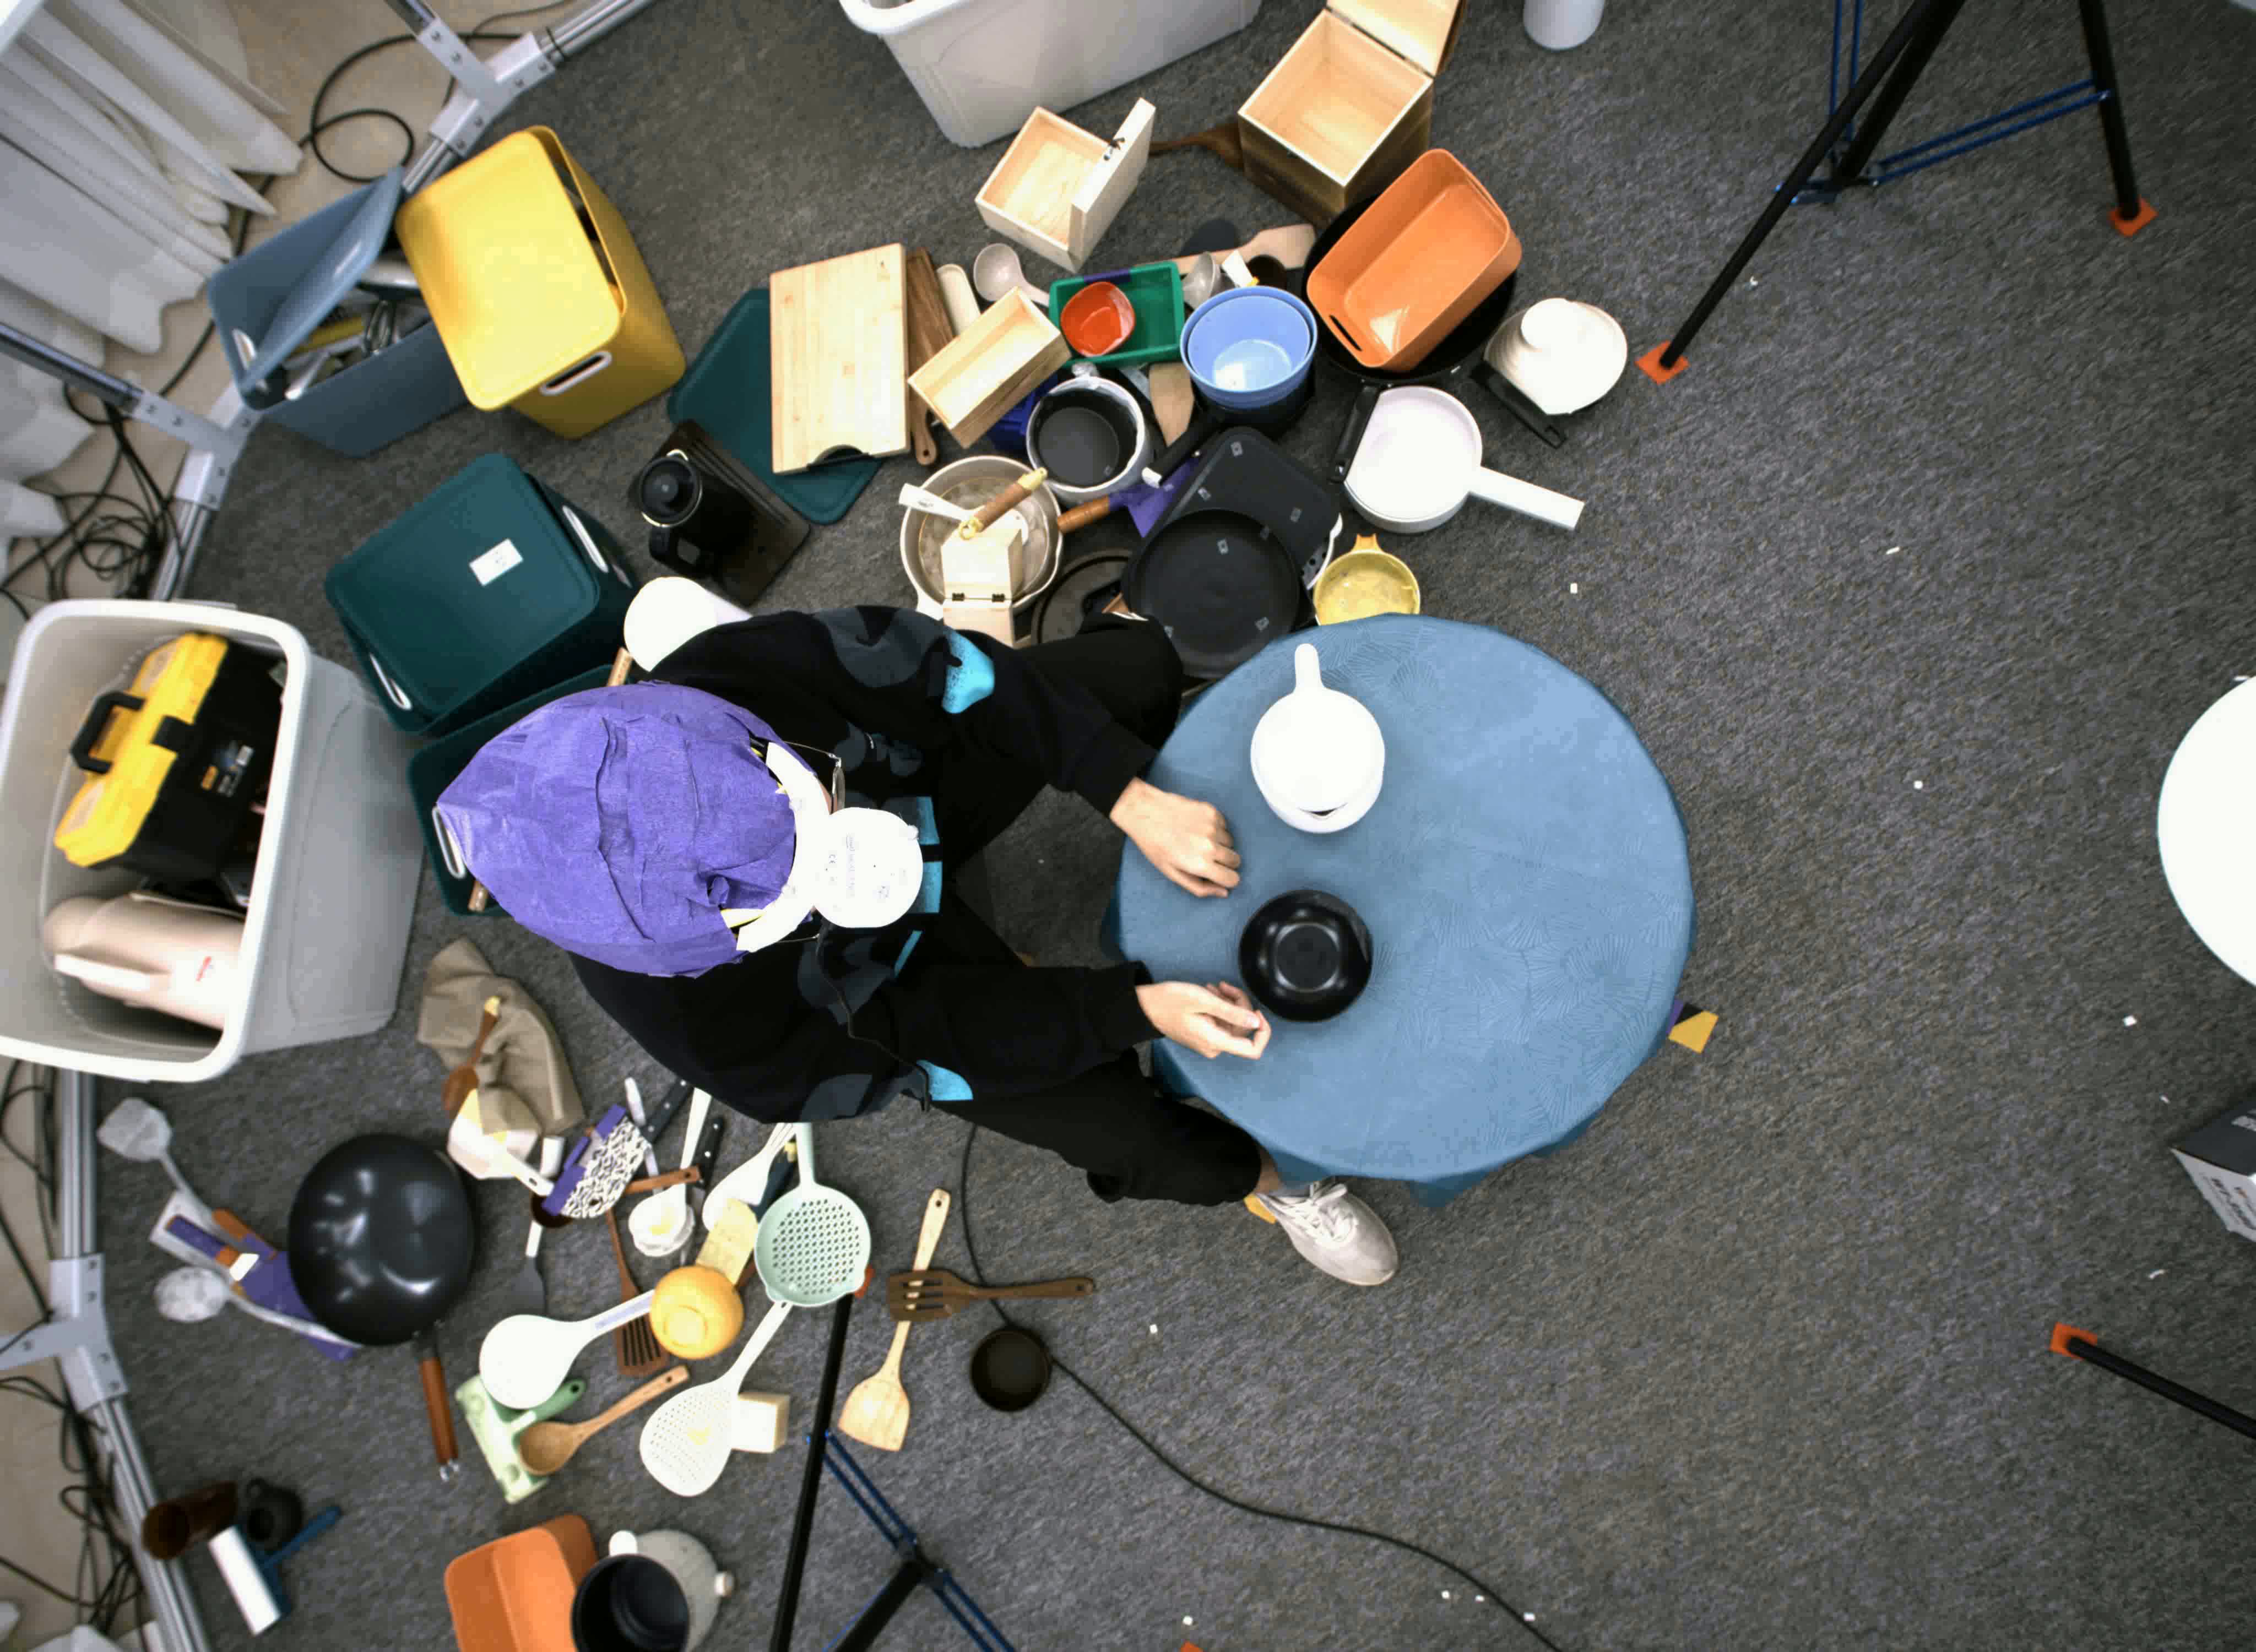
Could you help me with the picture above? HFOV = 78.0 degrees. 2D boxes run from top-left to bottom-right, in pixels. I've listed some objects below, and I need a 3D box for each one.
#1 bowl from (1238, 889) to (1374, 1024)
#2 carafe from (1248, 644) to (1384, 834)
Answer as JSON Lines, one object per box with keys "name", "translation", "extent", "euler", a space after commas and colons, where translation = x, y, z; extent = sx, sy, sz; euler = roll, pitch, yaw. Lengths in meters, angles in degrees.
{"name": "bowl", "translation": [0.186, 0.135, 1.443], "extent": [0.140, 0.050, 0.139], "euler": [-1, 87, 12]}
{"name": "carafe", "translation": [0.187, -0.089, 1.392], "extent": [0.133, 0.183, 0.189], "euler": [-8, 82, 8]}
